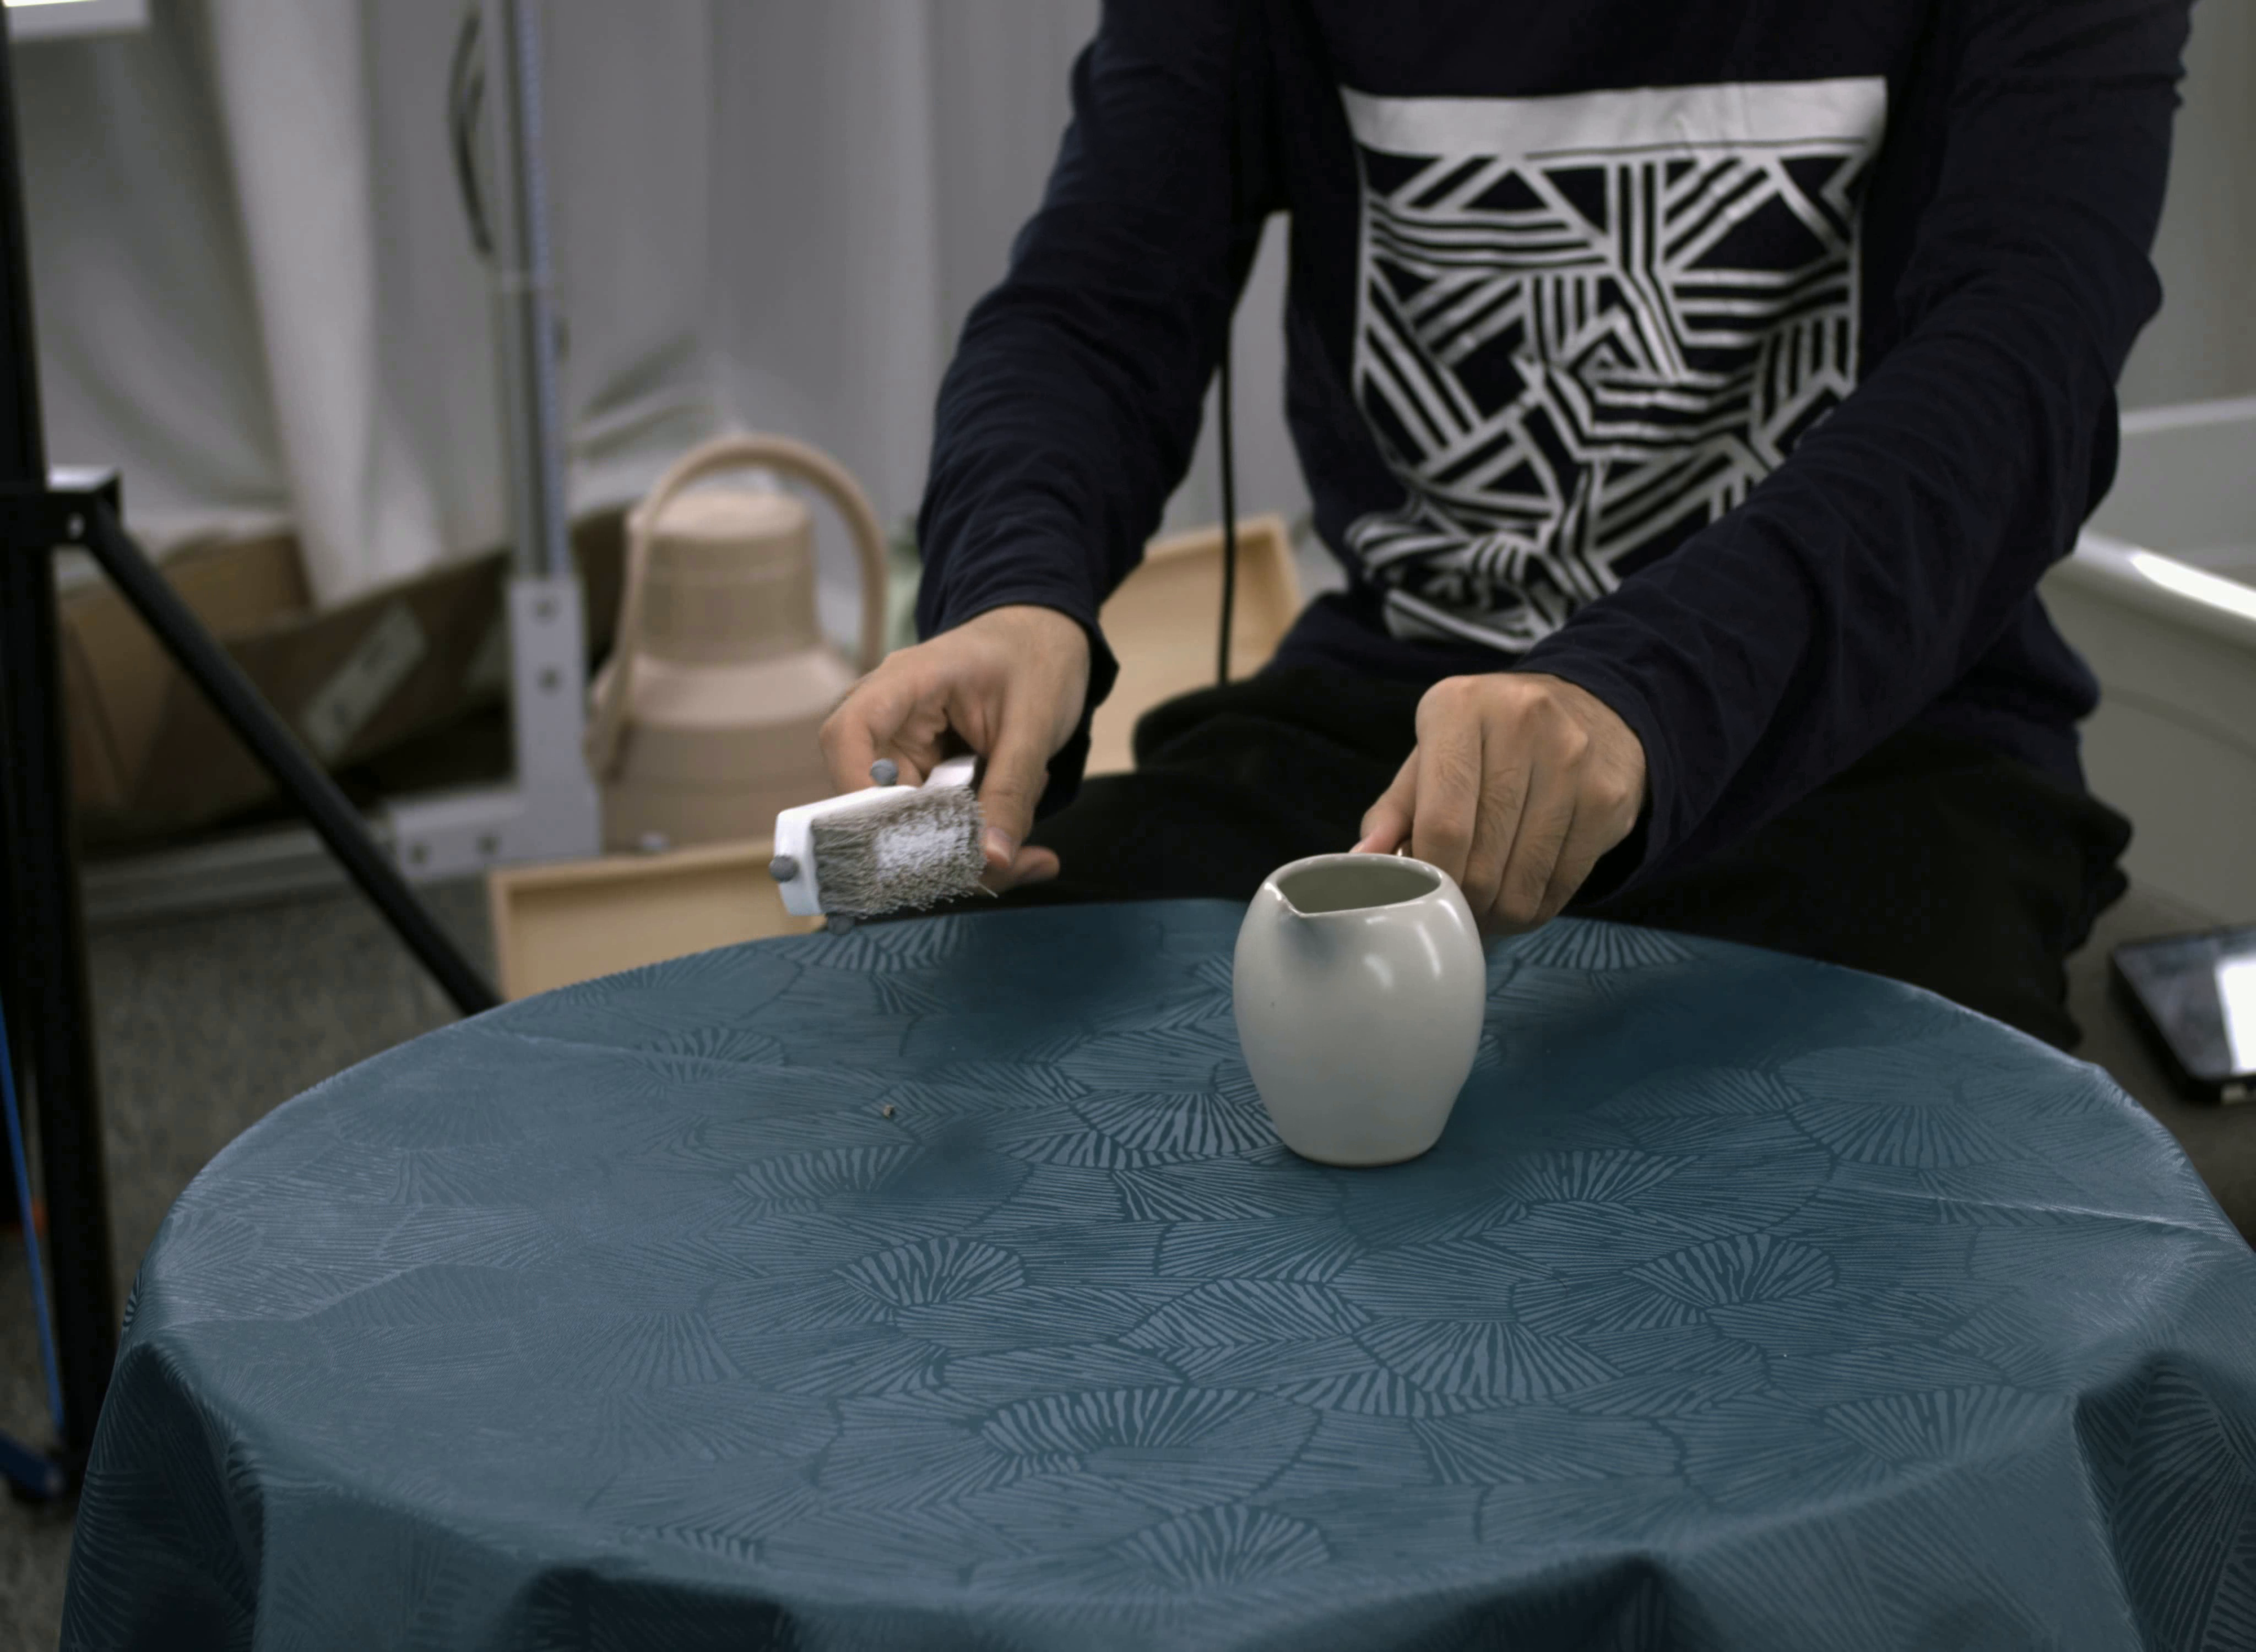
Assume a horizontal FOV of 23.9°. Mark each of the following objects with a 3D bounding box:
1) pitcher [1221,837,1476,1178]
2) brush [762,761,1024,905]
[{"bbox_3d":[0.068,0.053,1.579,0.077,0.088,0.117,9,22,22],"label":"pitcher"},{"bbox_3d":[-0.055,-0.001,1.697,0.051,0.034,0.240,-2,4,17],"label":"brush"}]
